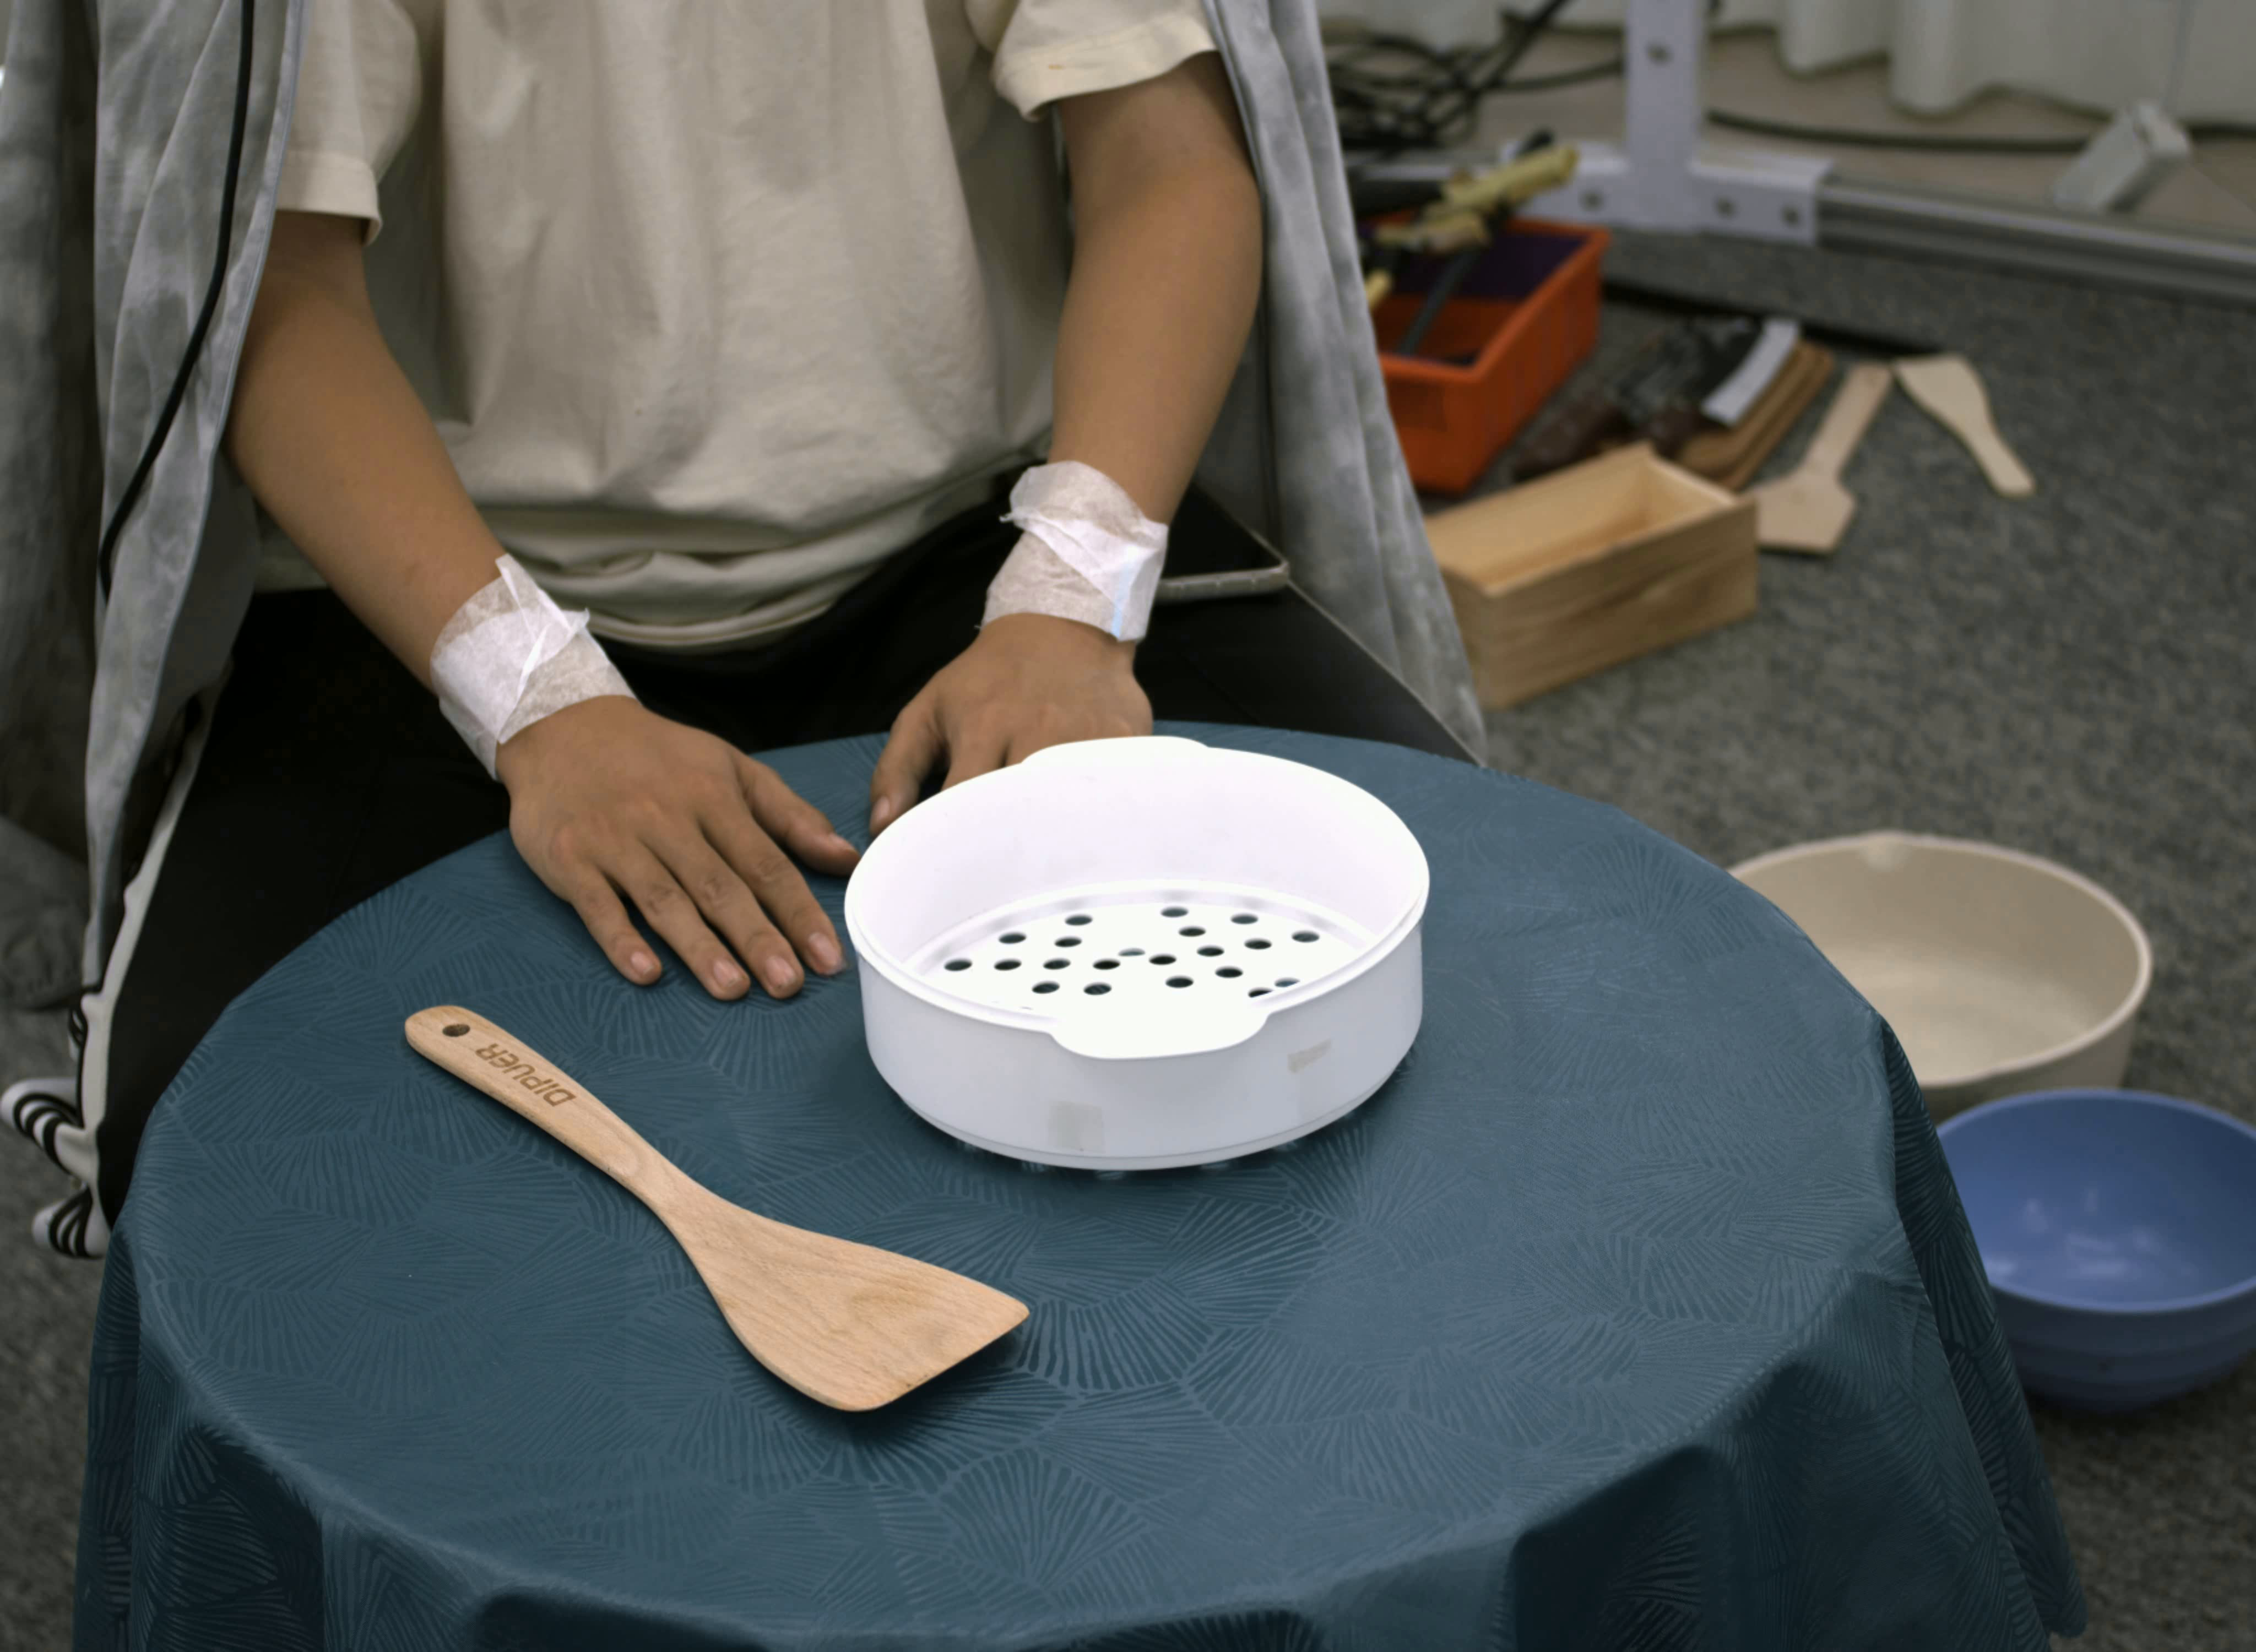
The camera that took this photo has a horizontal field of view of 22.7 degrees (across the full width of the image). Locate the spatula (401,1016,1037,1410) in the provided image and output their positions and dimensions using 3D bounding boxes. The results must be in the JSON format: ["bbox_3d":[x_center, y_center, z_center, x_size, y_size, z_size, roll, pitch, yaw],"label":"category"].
[{"bbox_3d":[-0.149,0.120,1.858,0.080,0.016,0.328,-21,32,-32],"label":"spatula"}]

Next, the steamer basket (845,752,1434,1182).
[{"bbox_3d":[0.005,0.050,1.929,0.201,0.068,0.234,-3,26,-3],"label":"steamer basket"}]
